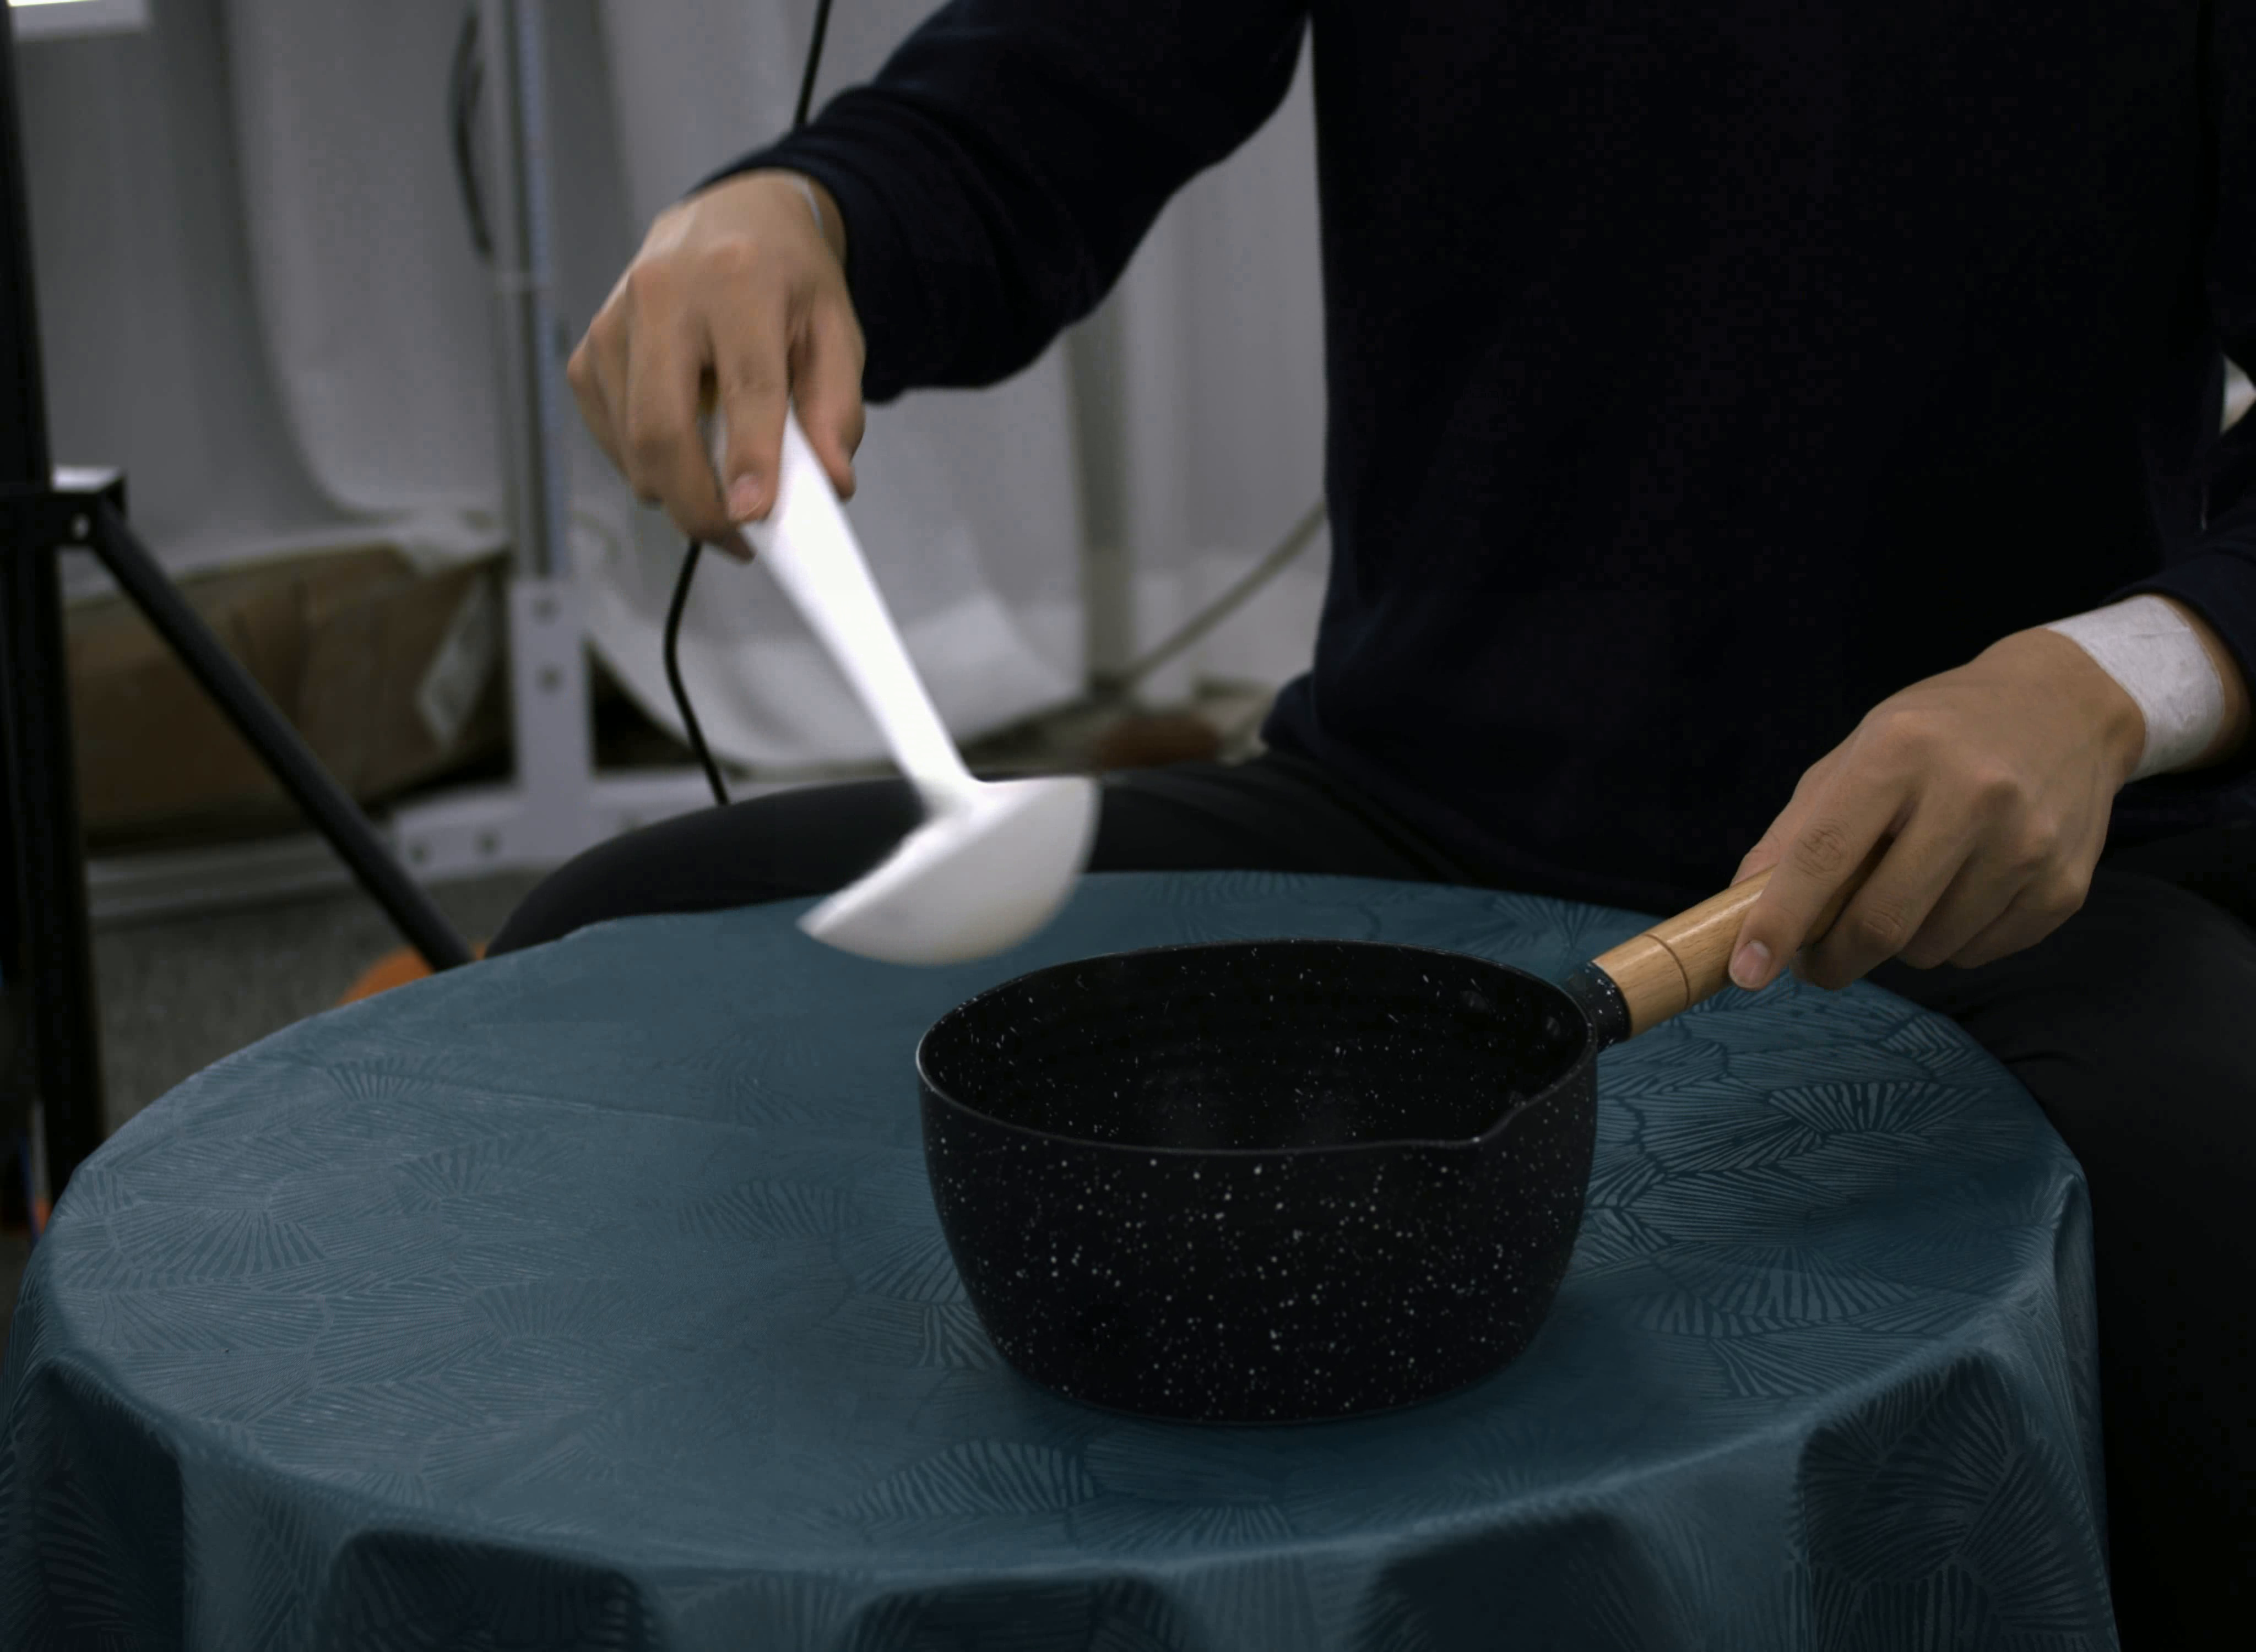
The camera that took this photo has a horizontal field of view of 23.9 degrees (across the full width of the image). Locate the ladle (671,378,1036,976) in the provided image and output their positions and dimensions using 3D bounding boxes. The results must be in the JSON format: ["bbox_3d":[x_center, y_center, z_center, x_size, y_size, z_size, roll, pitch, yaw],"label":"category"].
[{"bbox_3d":[-0.089,-0.052,1.463,0.090,0.068,0.298,-39,36,8],"label":"ladle"}]

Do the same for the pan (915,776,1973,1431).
[{"bbox_3d":[0.101,0.071,1.472,0.335,0.108,0.212,-14,18,-31],"label":"pan"}]
